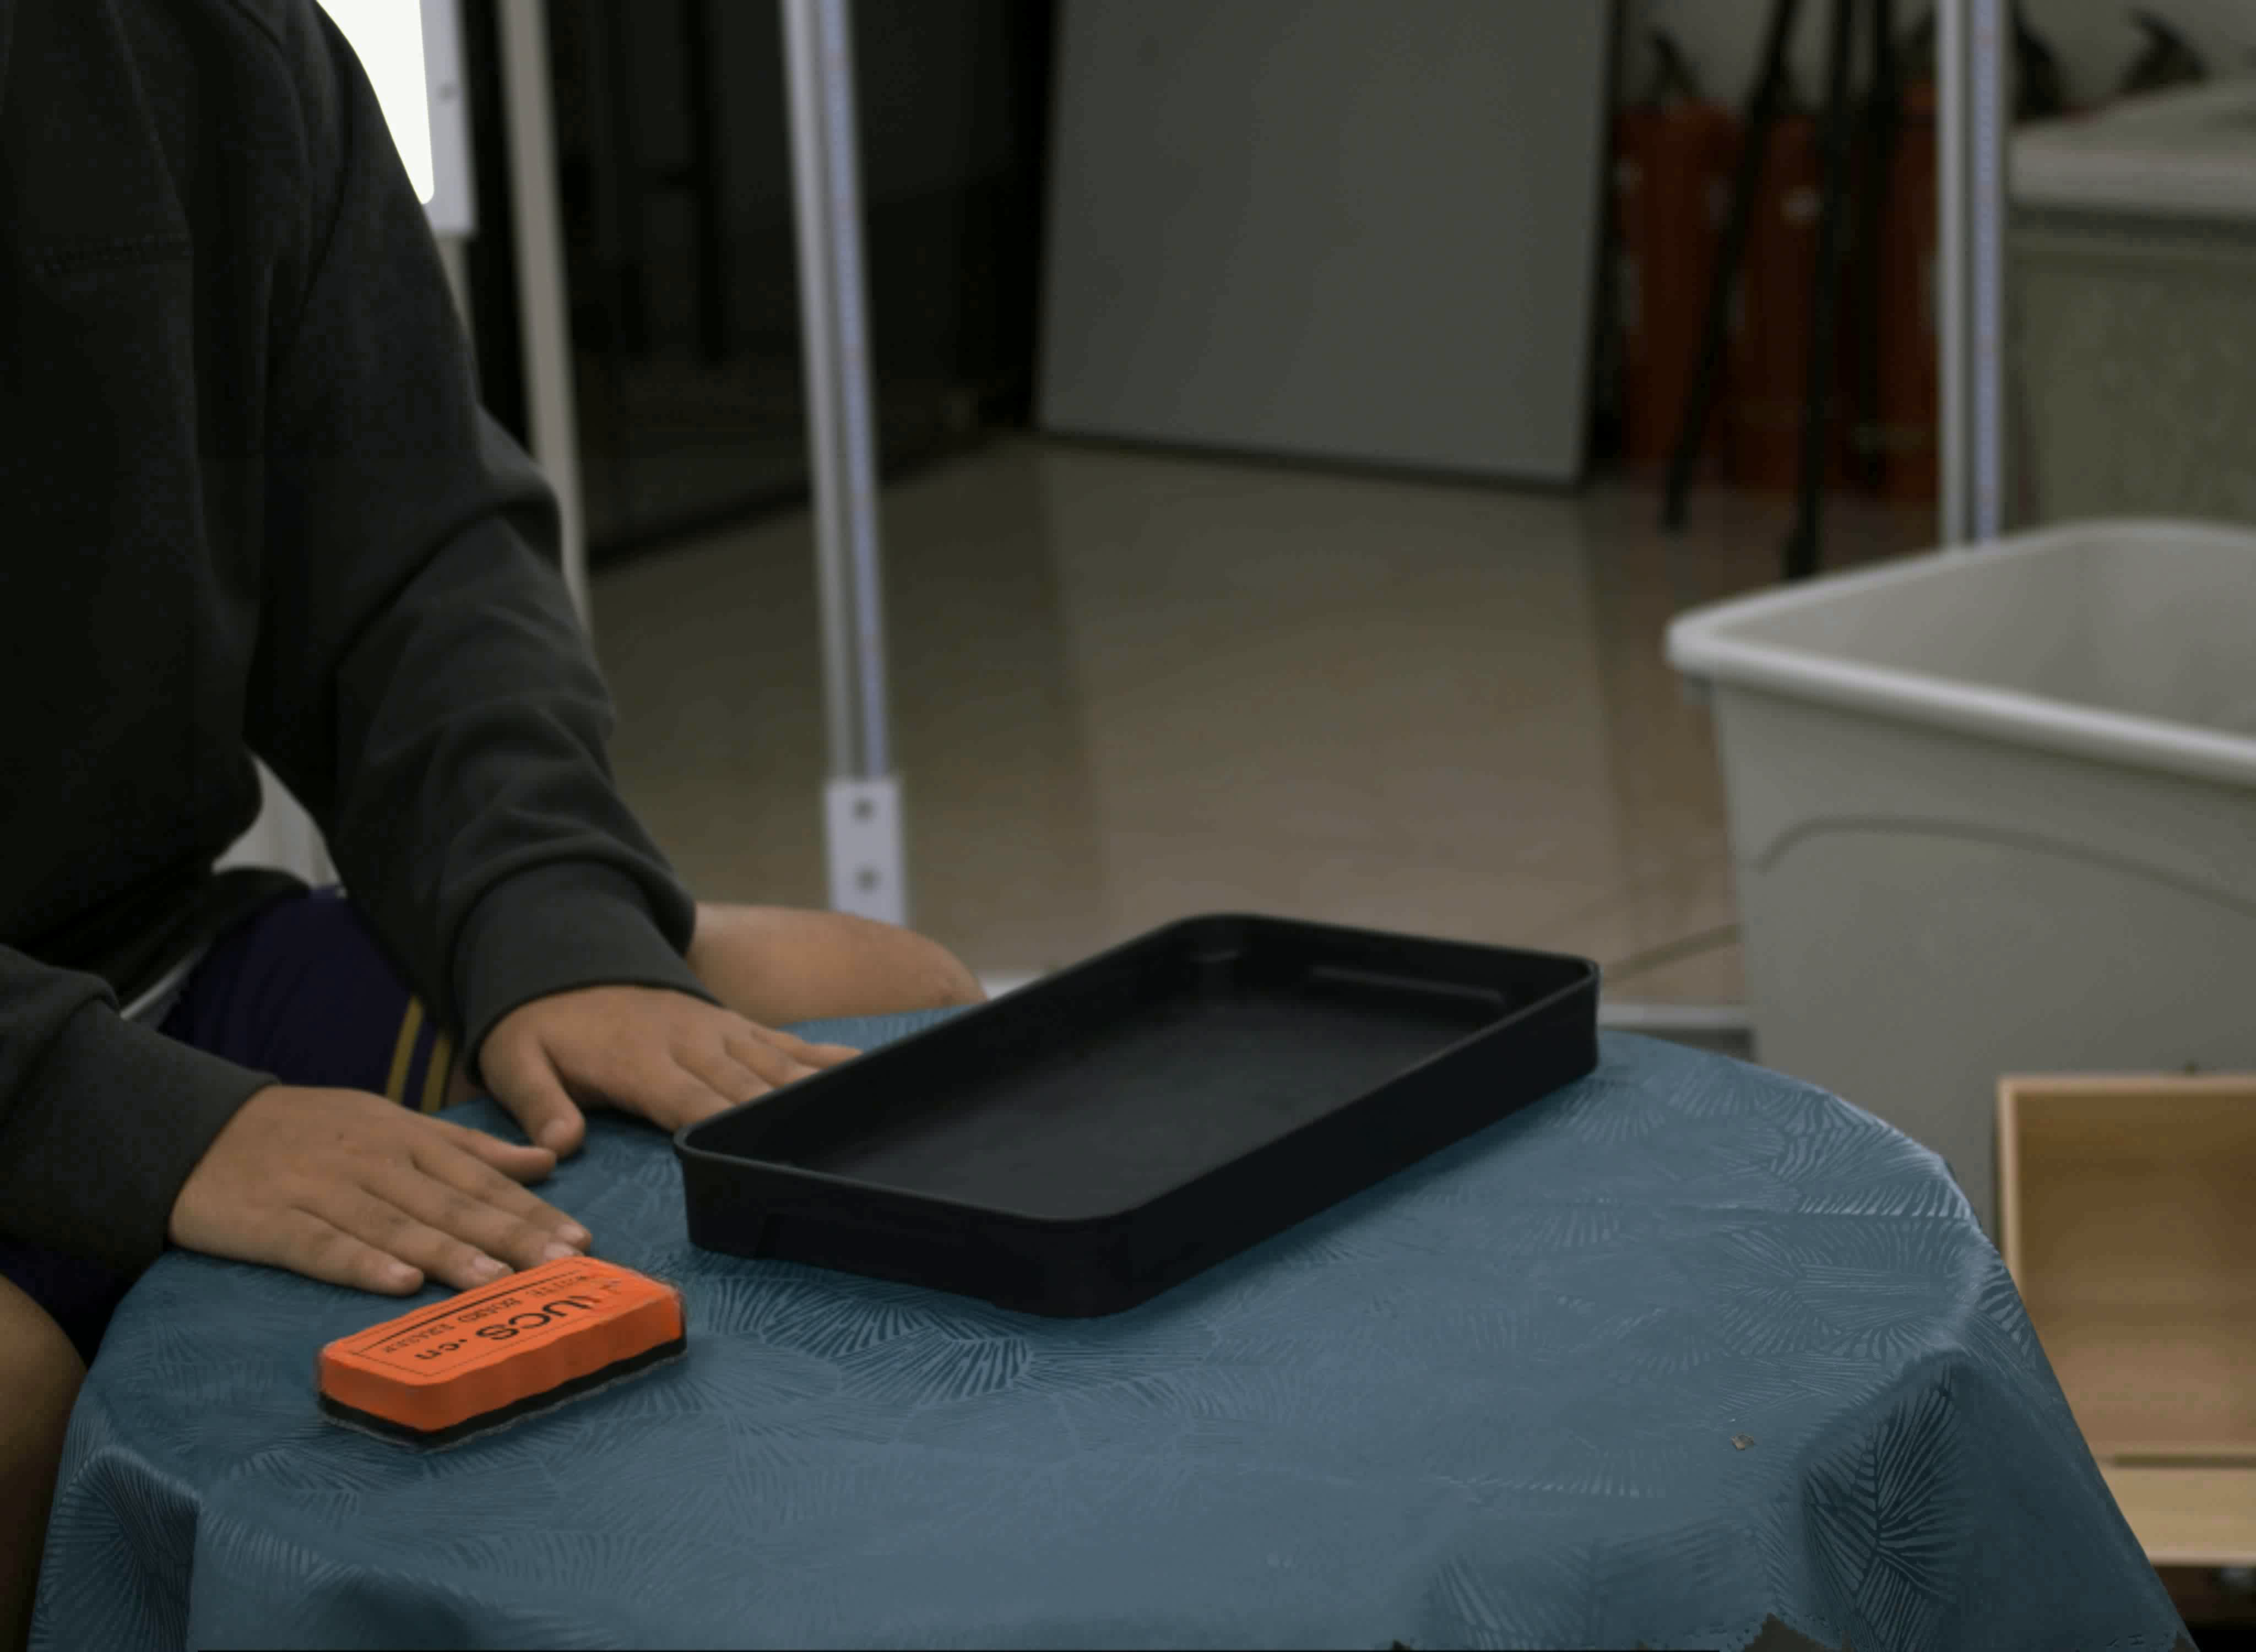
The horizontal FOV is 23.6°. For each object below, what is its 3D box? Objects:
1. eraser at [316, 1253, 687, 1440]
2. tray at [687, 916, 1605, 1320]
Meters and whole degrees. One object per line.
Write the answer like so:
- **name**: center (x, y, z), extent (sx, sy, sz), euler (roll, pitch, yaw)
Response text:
- **eraser**: center (-0.186, 0.155, 1.620), extent (0.059, 0.023, 0.106), euler (1, 14, 44)
- **tray**: center (0.013, 0.092, 1.812), extent (0.185, 0.037, 0.312), euler (5, 17, 36)
